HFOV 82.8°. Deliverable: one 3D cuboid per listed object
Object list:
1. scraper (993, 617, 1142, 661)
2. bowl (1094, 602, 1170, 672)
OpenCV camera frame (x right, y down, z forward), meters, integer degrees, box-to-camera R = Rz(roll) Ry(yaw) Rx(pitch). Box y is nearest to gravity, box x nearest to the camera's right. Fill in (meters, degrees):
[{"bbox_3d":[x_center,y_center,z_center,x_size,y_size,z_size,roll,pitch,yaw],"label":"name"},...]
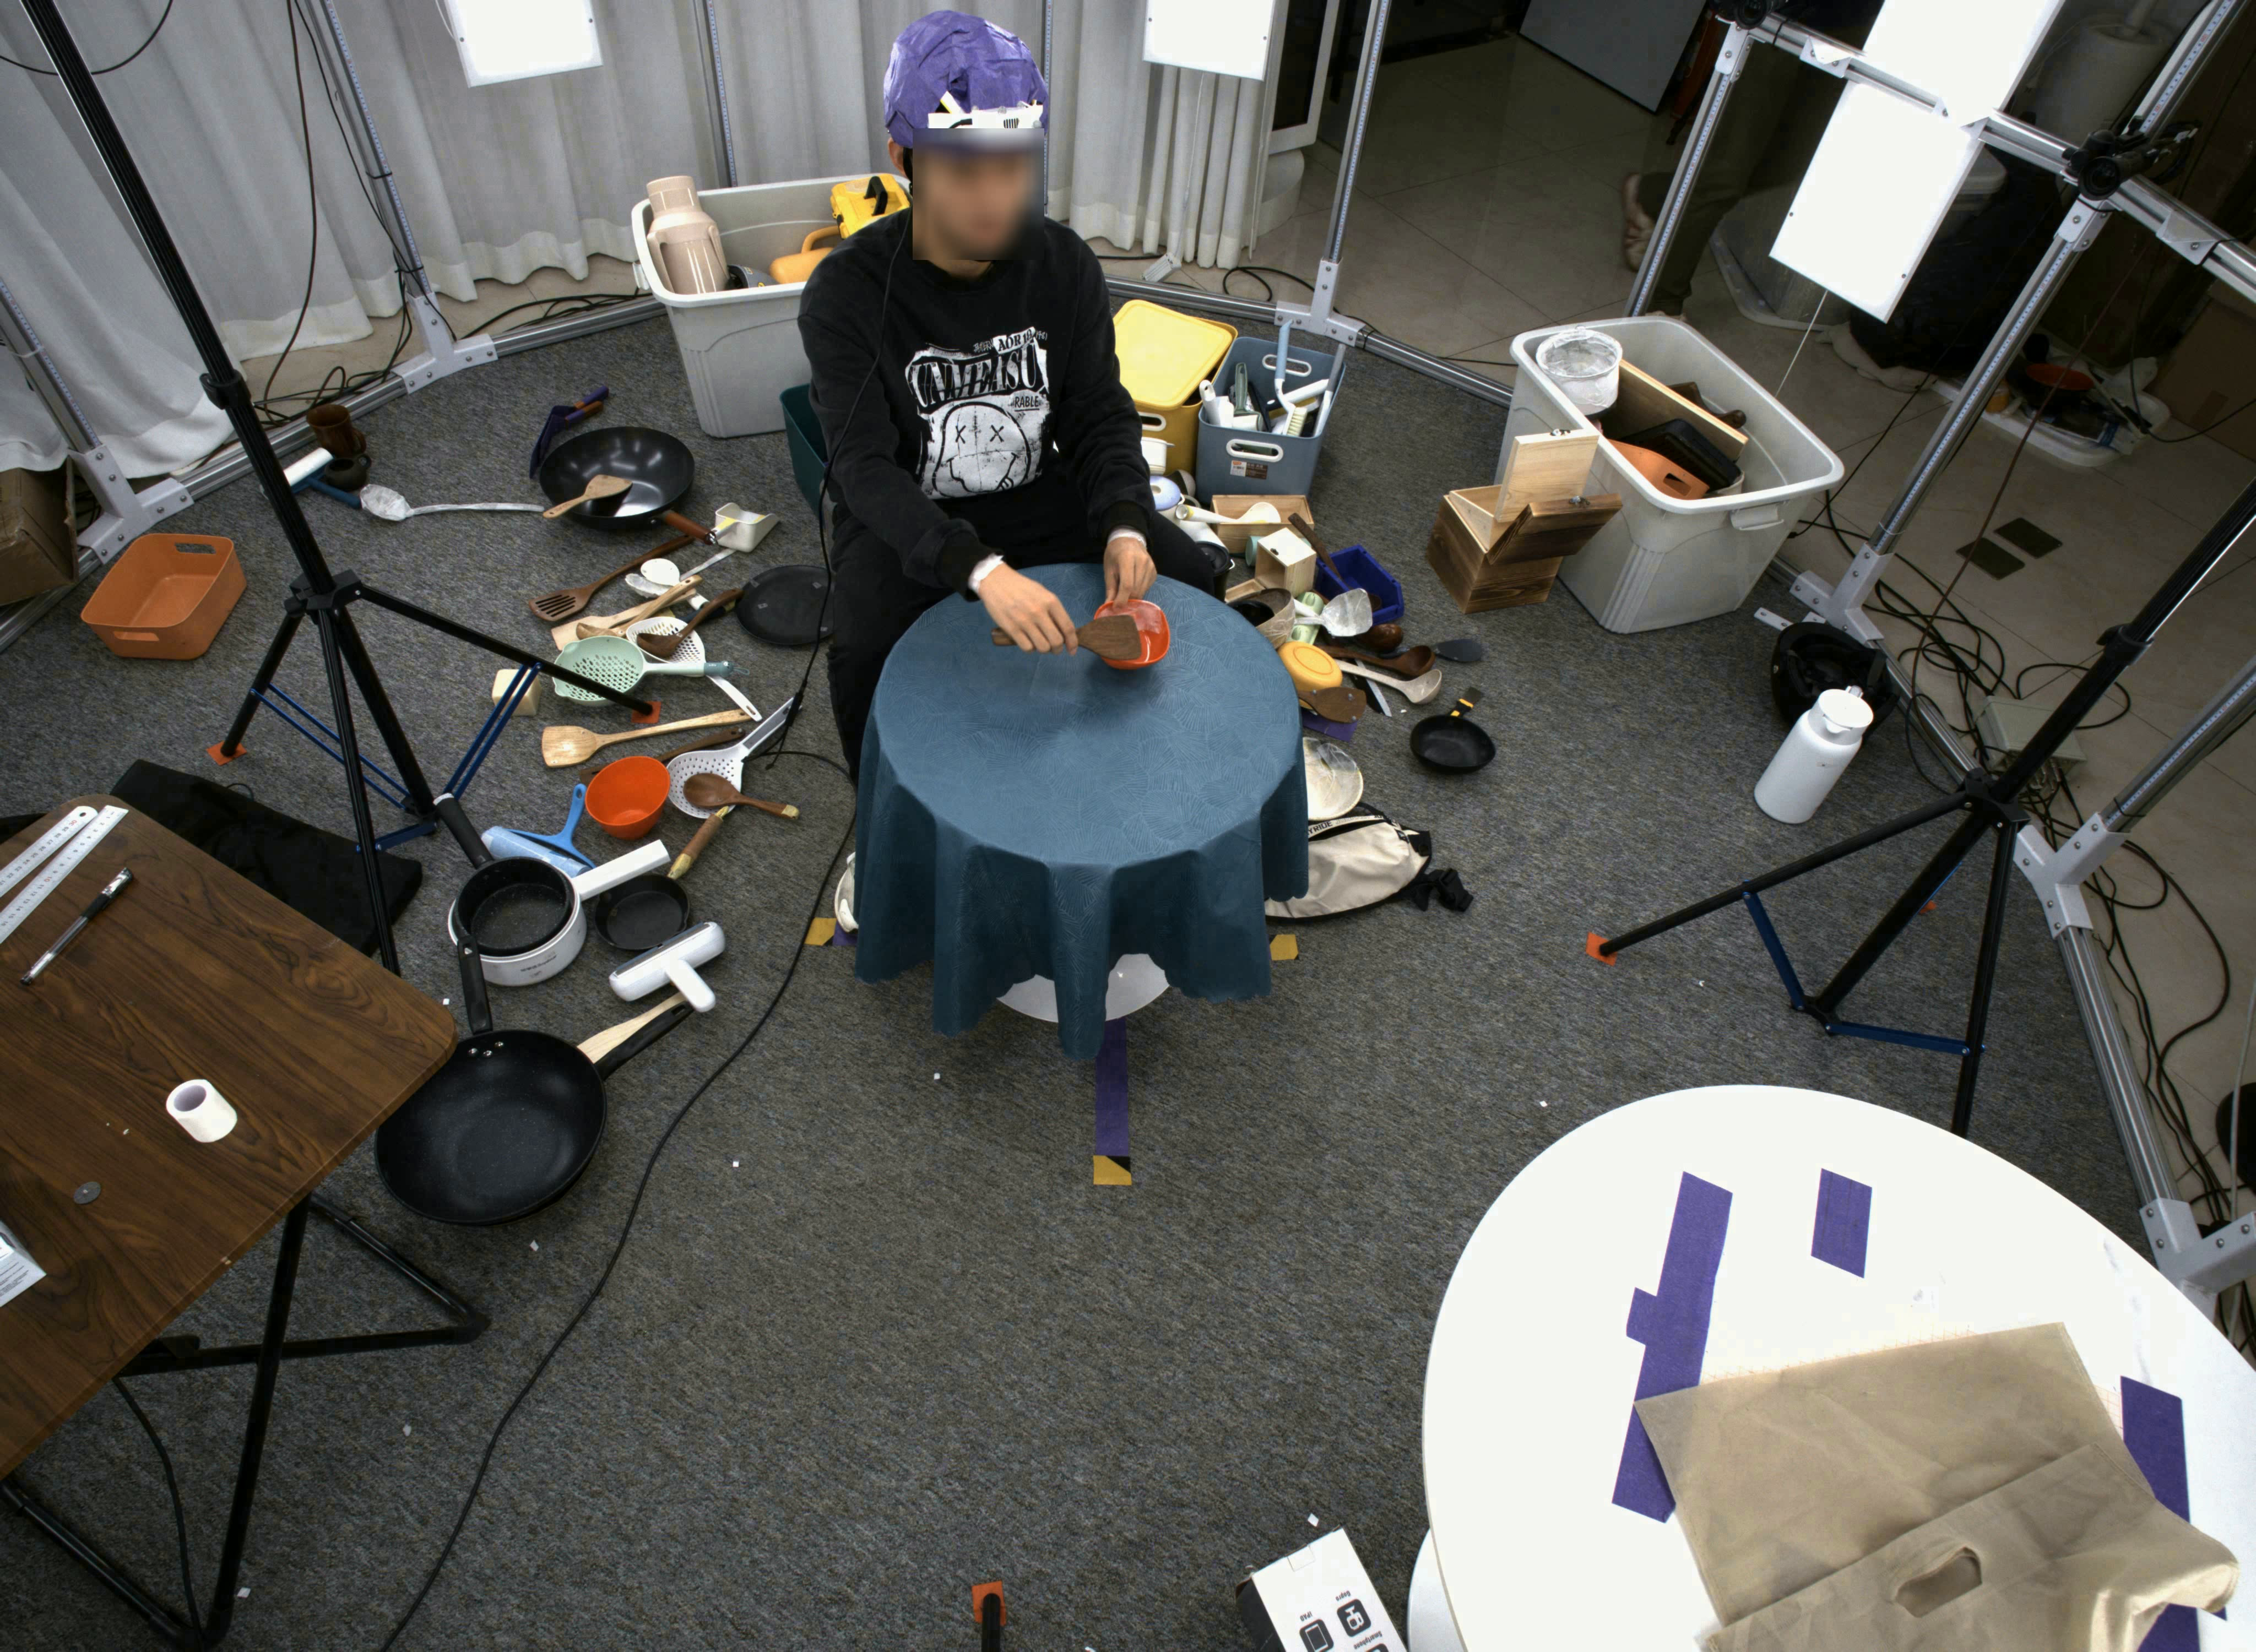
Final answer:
[{"bbox_3d":[-0.083,-0.260,1.776,0.210,0.010,0.077,-2,61,-20],"label":"scraper"},{"bbox_3d":[0.003,-0.266,1.866,0.119,0.050,0.121,3,64,-6],"label":"bowl"}]
